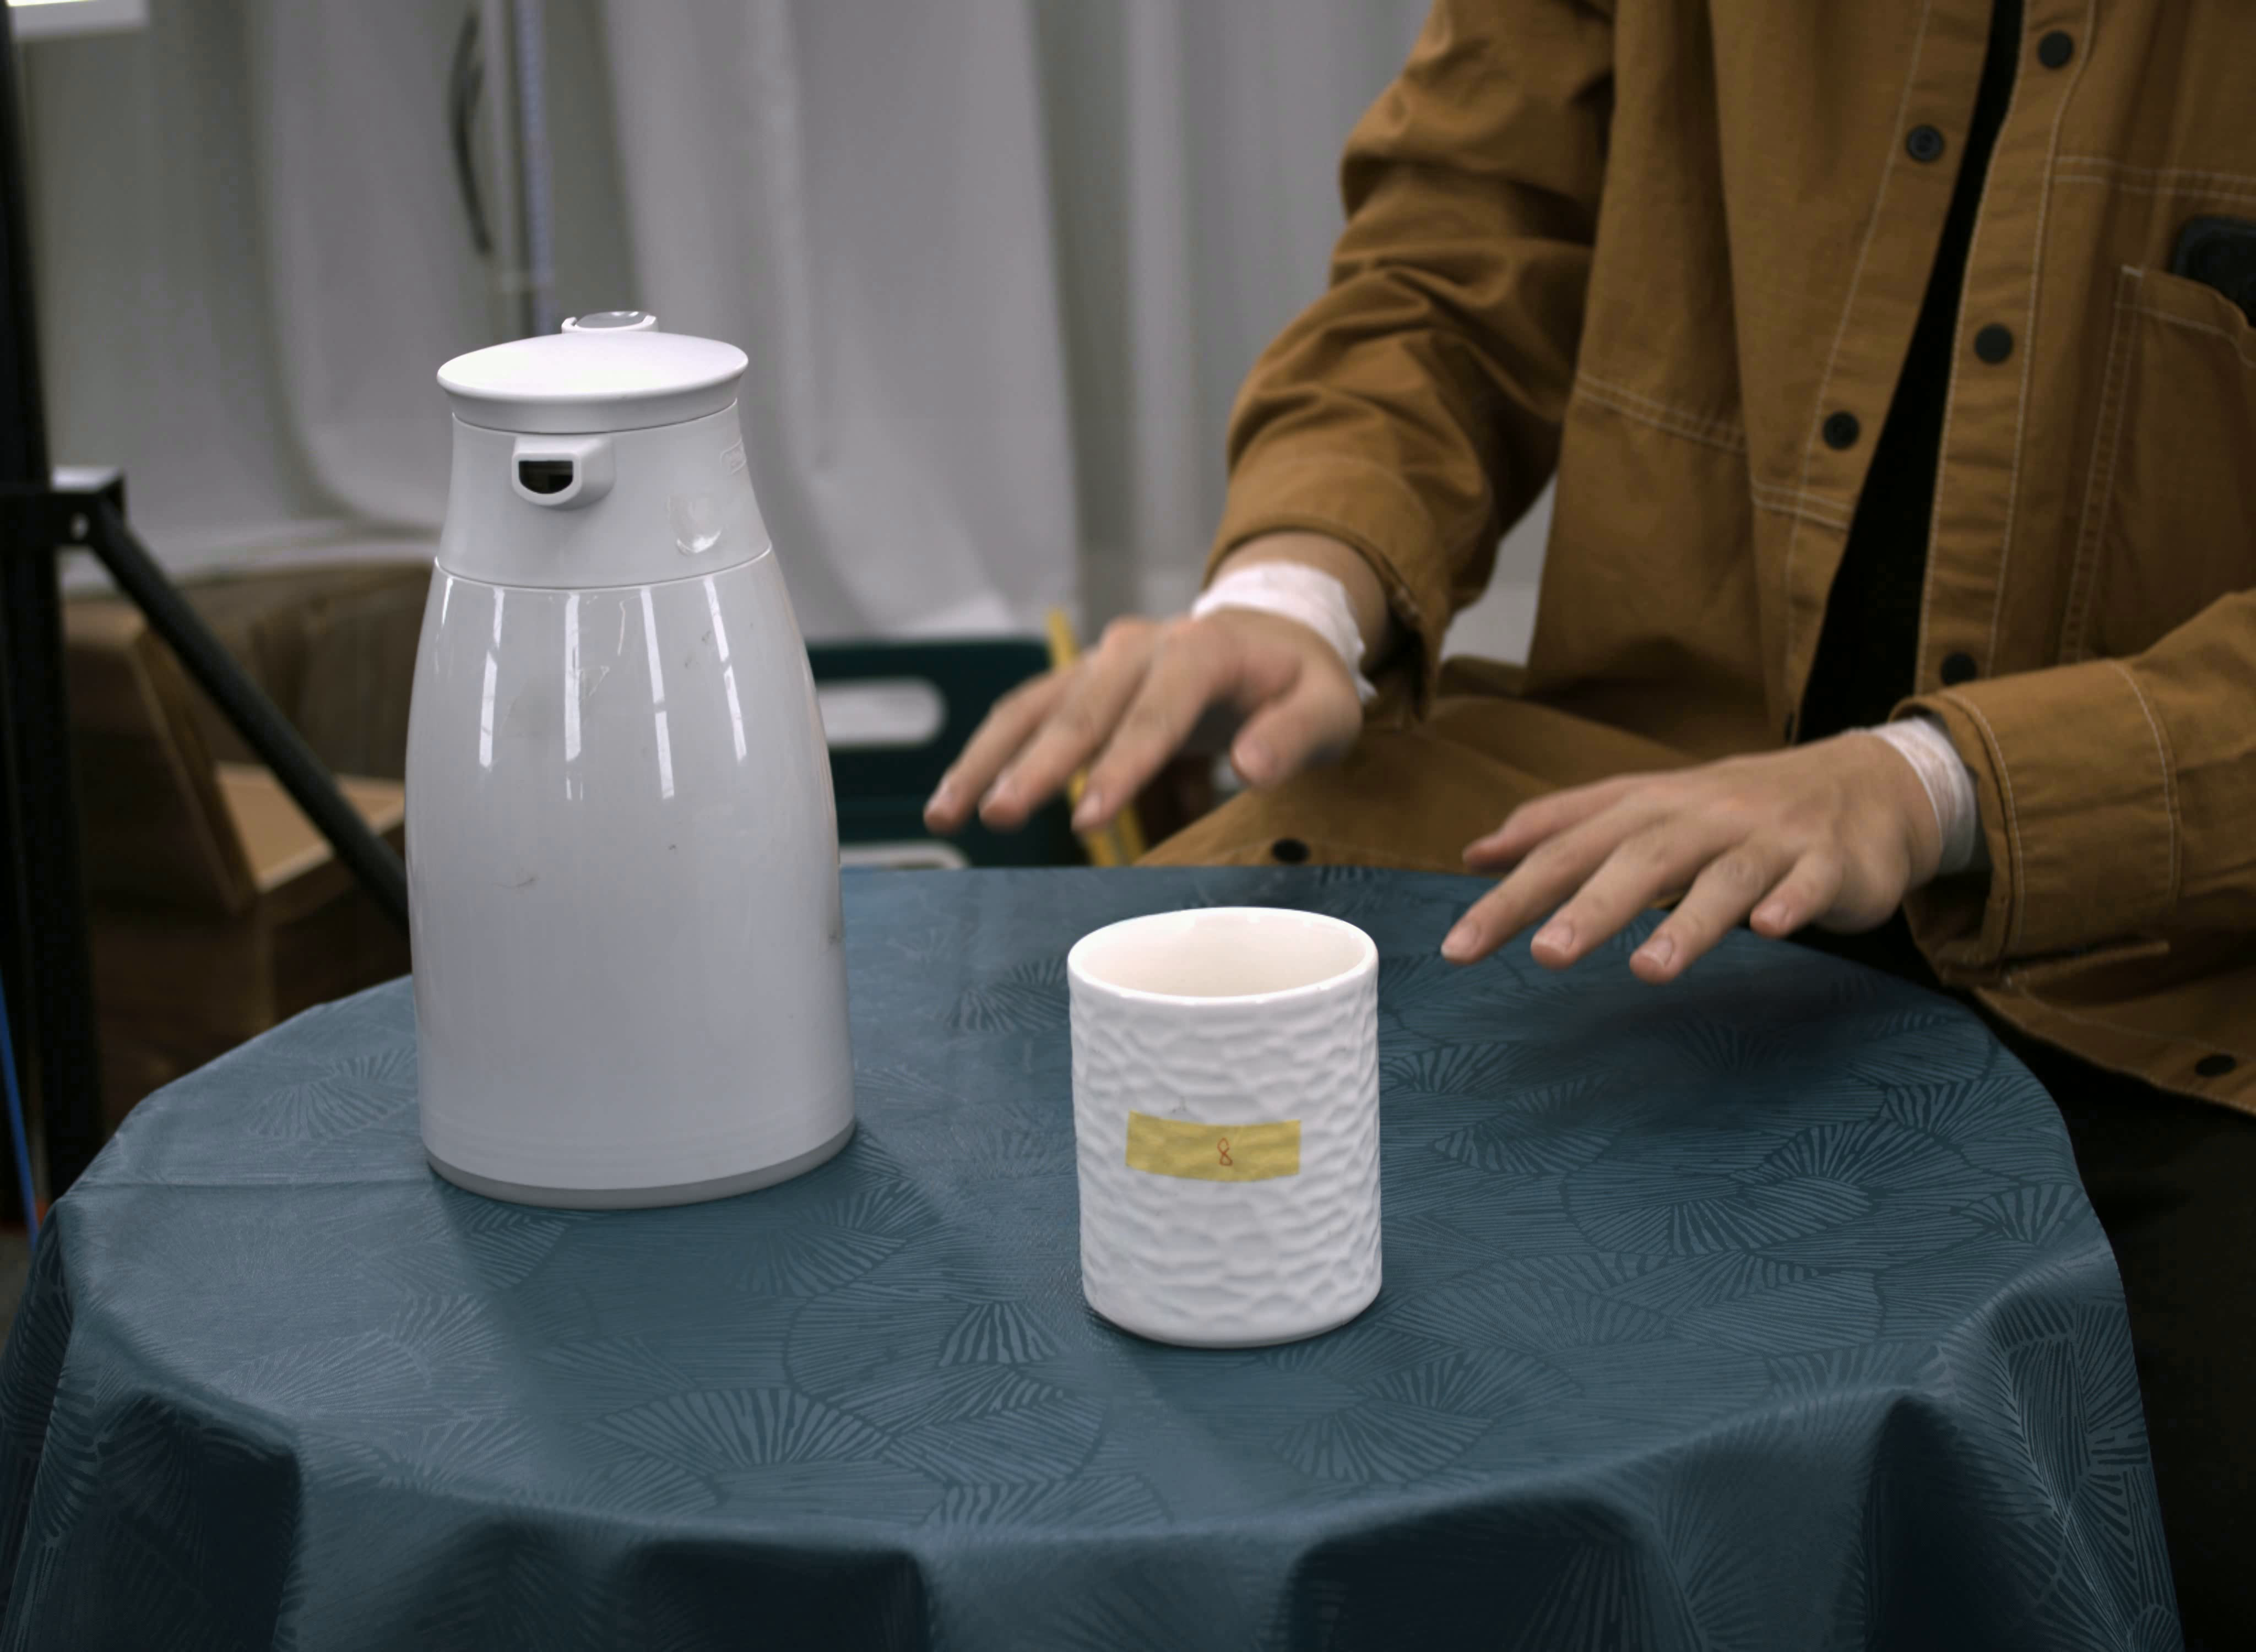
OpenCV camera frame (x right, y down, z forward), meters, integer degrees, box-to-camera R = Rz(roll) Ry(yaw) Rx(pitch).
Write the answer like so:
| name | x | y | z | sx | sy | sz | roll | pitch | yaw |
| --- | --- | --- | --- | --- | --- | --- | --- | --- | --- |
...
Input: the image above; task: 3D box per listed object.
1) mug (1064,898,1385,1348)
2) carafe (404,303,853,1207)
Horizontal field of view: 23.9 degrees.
| name | x | y | z | sx | sy | sz | roll | pitch | yaw |
| --- | --- | --- | --- | --- | --- | --- | --- | --- | --- |
| mug | 0.035 | 0.077 | 1.465 | 0.086 | 0.102 | 0.116 | 5 | 19 | 28 |
| carafe | -0.152 | -0.030 | 1.612 | 0.133 | 0.248 | 0.167 | -1 | 15 | 8 |
